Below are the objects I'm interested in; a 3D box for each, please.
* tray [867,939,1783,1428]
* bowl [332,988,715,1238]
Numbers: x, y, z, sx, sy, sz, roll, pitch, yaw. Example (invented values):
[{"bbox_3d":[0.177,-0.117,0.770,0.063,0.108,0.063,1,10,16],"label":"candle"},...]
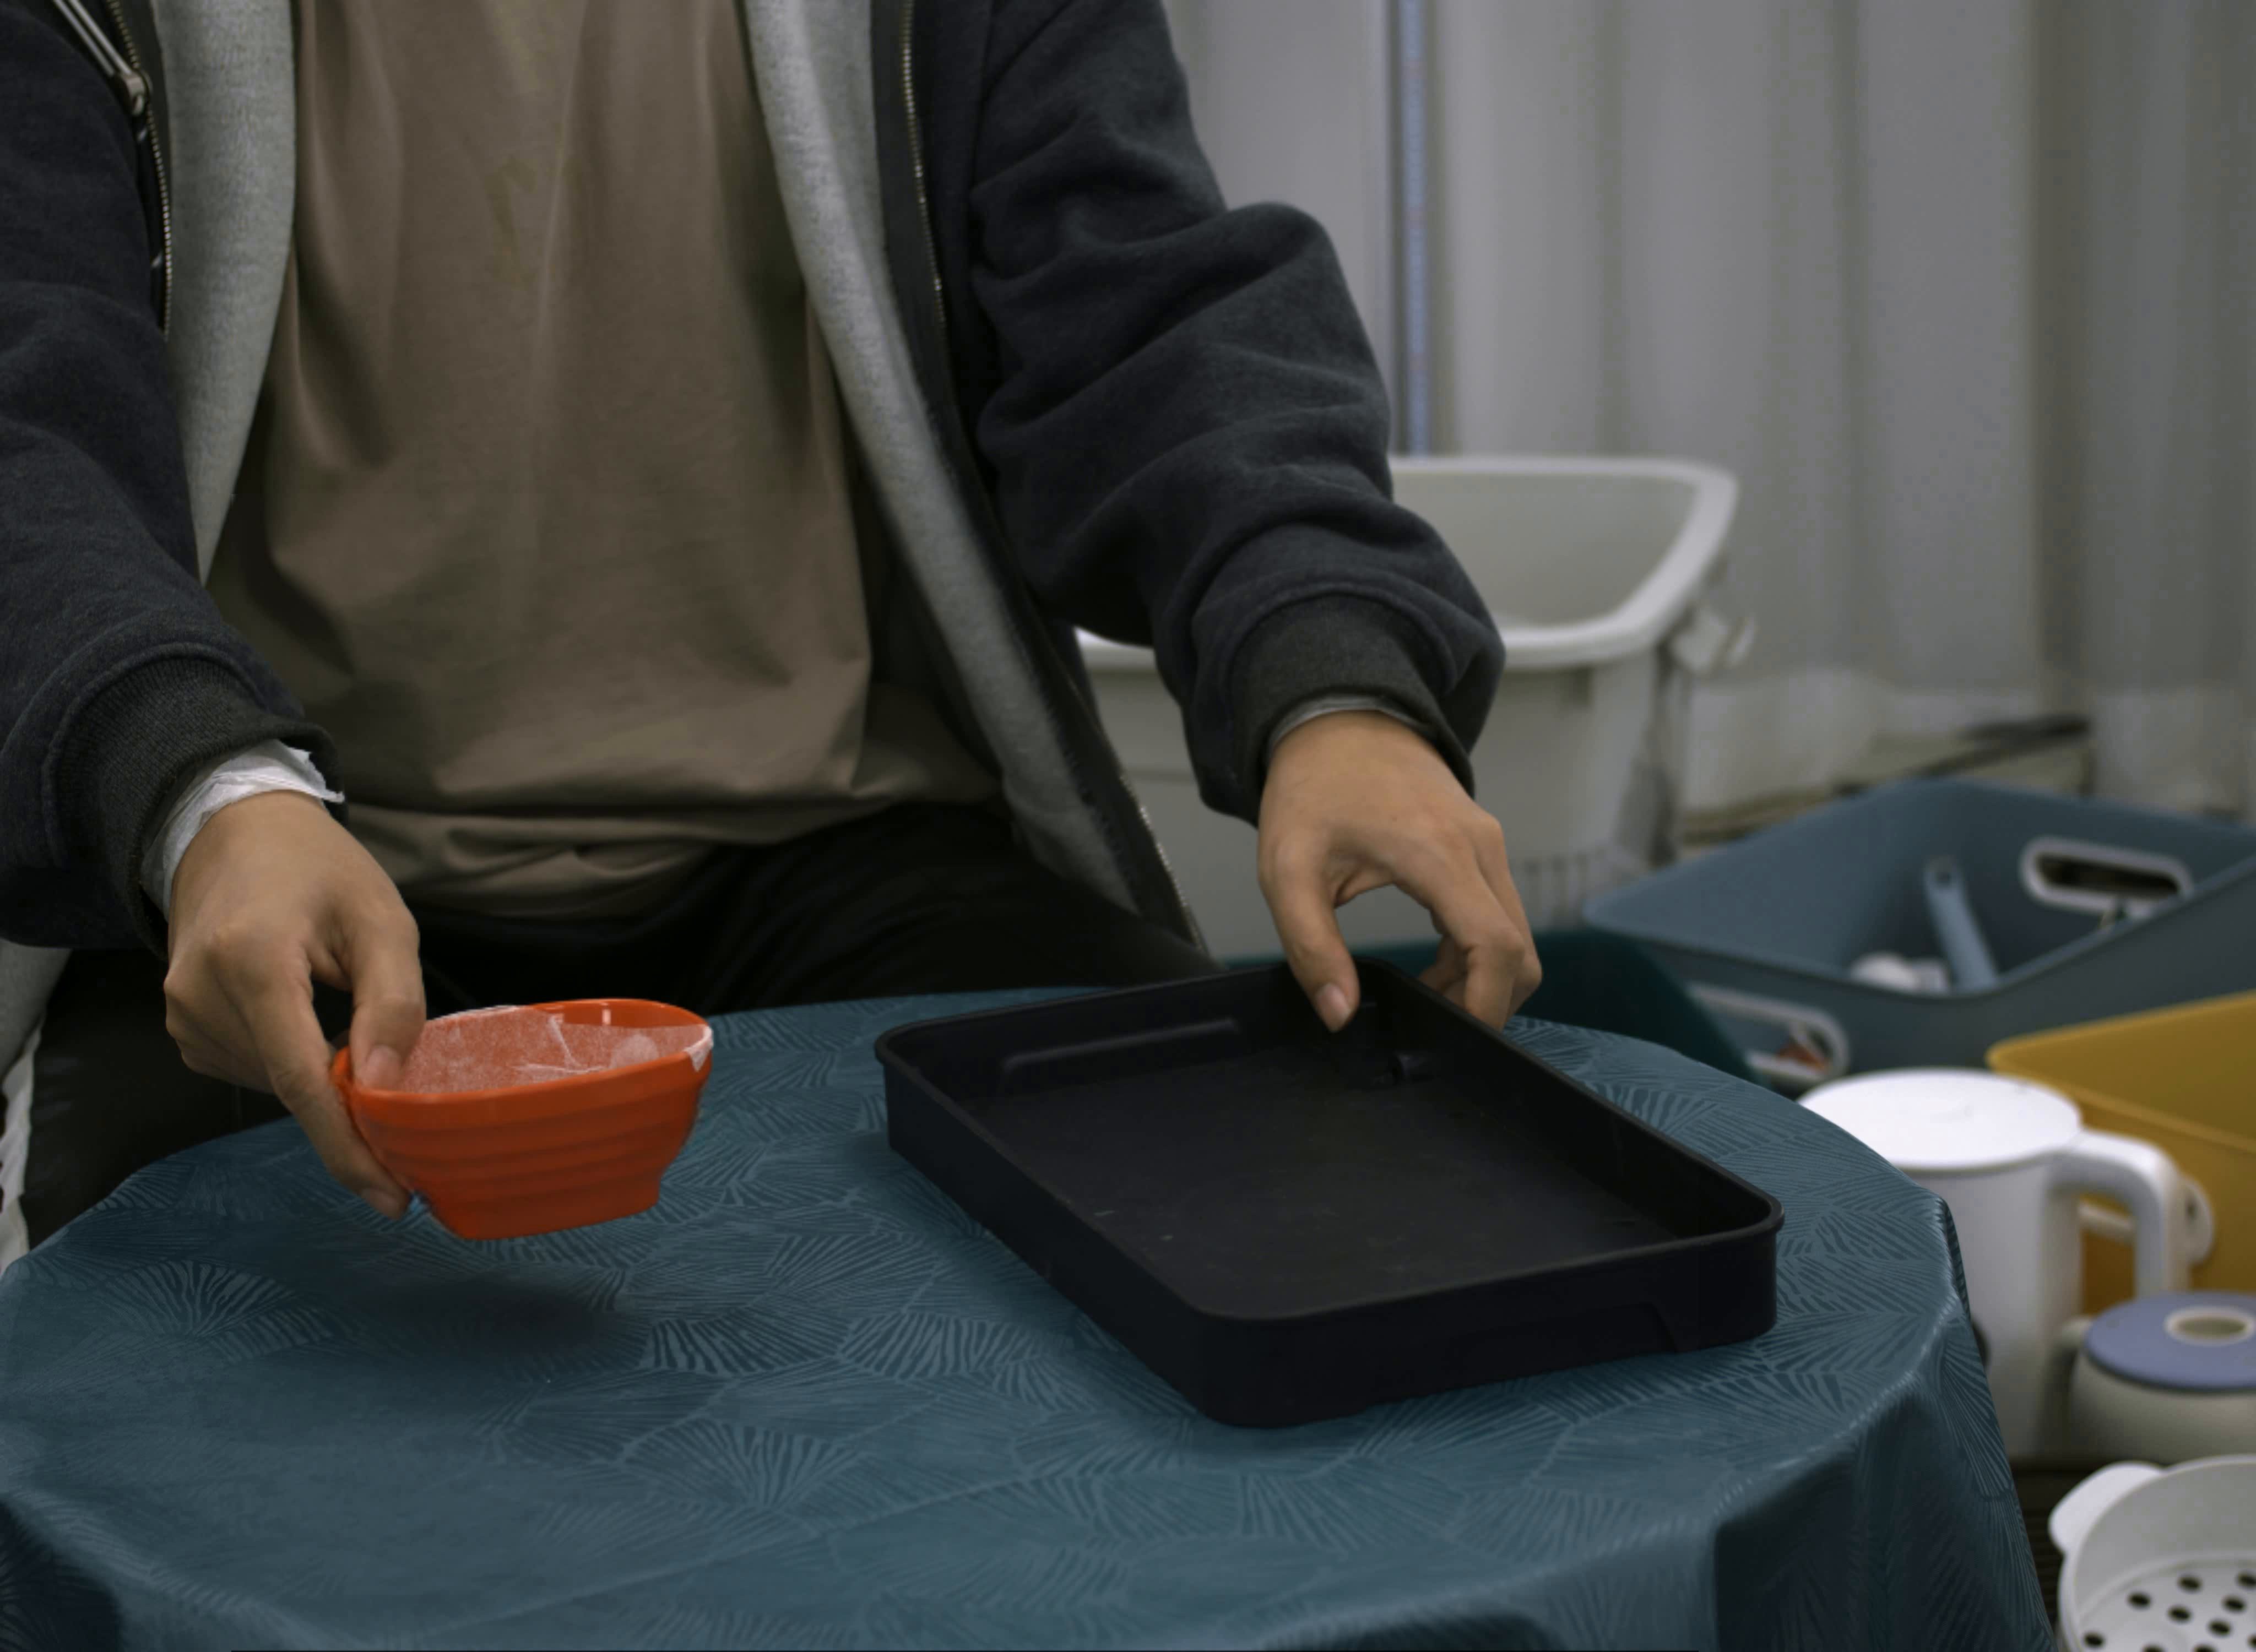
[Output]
[{"bbox_3d":[0.052,0.103,1.672,0.183,0.037,0.320,-8,17,-20],"label":"tray"},{"bbox_3d":[-0.177,0.087,1.623,0.118,0.051,0.119,-5,12,1],"label":"bowl"}]
